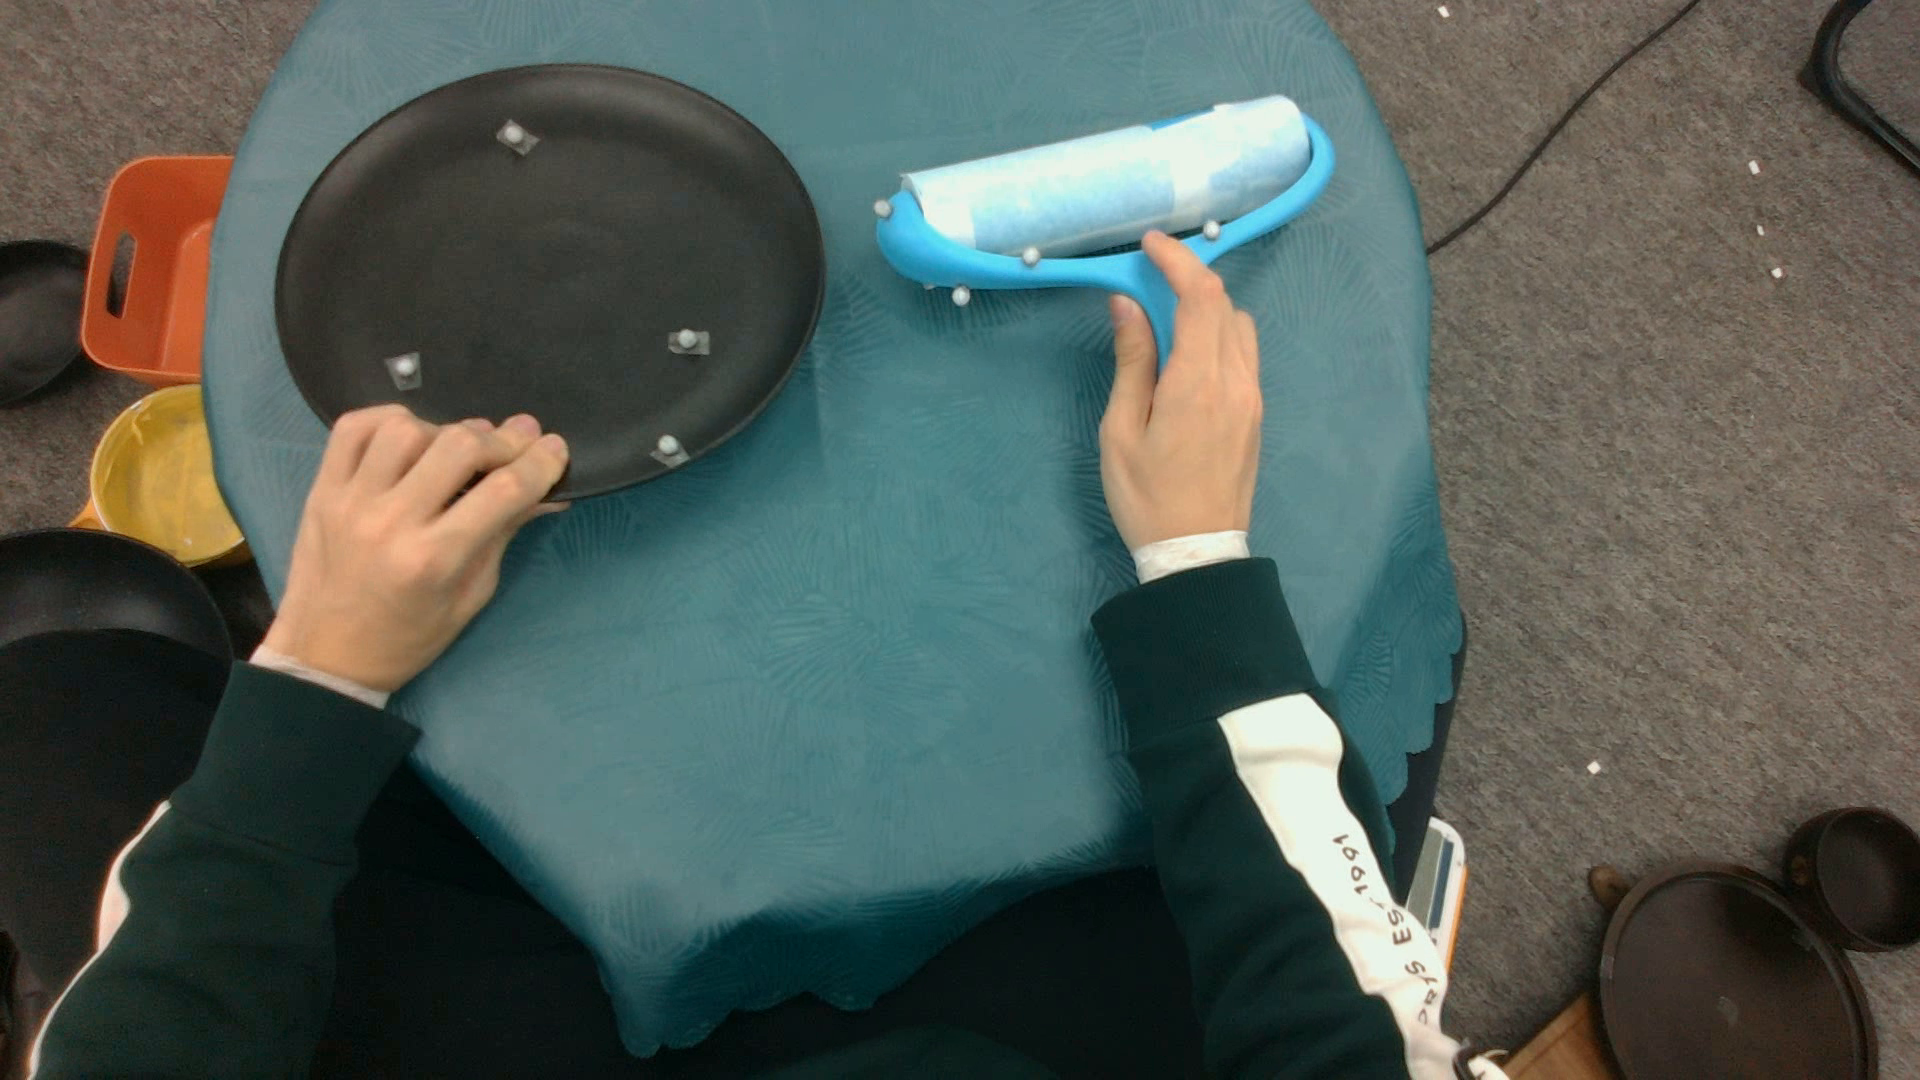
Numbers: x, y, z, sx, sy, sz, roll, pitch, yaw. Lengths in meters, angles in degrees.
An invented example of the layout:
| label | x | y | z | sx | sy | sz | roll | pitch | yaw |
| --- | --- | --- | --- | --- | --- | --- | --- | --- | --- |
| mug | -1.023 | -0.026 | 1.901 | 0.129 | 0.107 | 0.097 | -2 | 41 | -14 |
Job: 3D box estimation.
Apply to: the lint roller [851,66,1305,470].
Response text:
| label | x | y | z | sx | sy | sz | roll | pitch | yaw |
| --- | --- | --- | --- | --- | --- | --- | --- | --- | --- |
| lint roller | 0.079 | -0.126 | 0.659 | 0.229 | 0.068 | 0.180 | -20 | 80 | -11 |

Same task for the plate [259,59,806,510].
| label | x | y | z | sx | sy | sz | roll | pitch | yaw |
| --- | --- | --- | --- | --- | --- | --- | --- | --- | --- |
| plate | -0.193 | -0.121 | 0.637 | 0.244 | 0.023 | 0.245 | 2 | 66 | -3 |
